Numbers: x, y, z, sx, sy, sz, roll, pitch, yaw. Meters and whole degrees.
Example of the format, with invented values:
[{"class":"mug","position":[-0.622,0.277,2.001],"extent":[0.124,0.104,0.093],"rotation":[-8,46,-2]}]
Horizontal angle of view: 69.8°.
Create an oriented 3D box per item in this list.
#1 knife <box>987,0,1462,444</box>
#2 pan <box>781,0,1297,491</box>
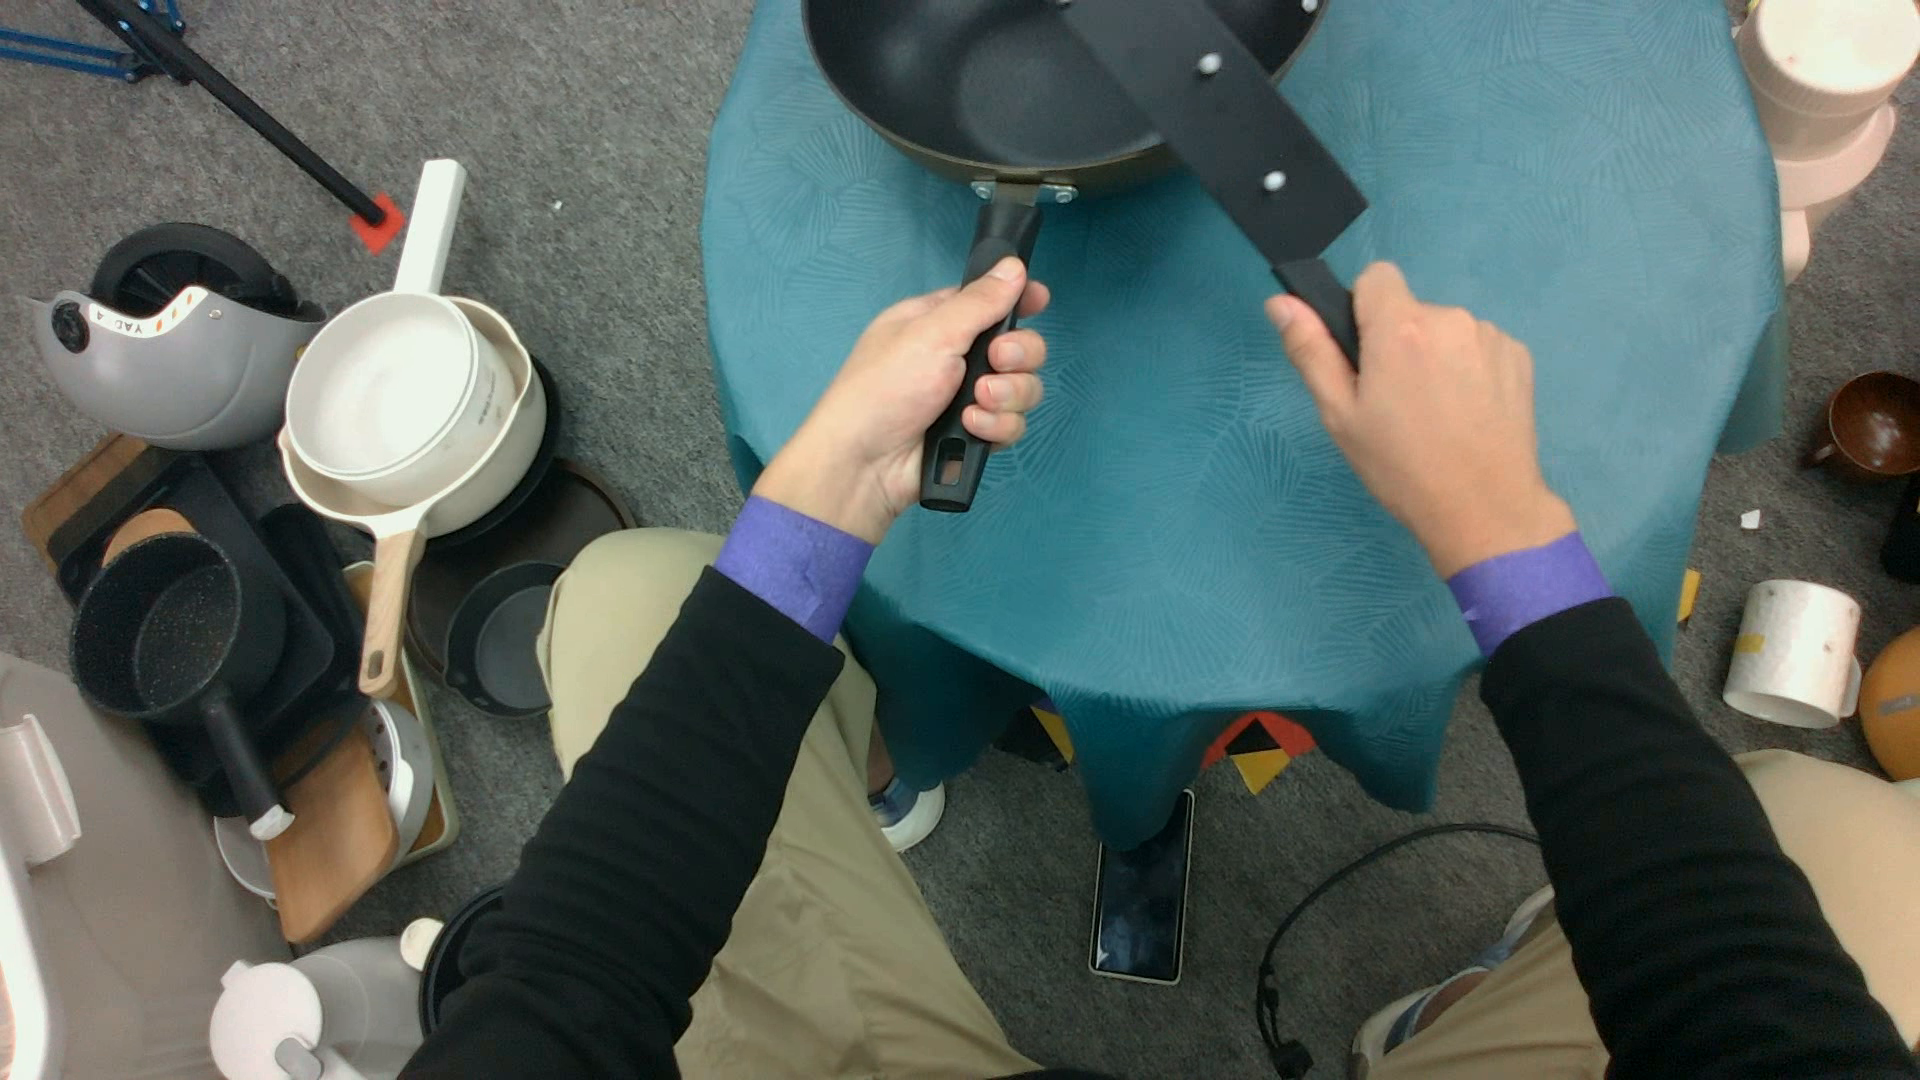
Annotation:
[{"class":"knife","position":[0.130,-0.163,0.646],"extent":[0.081,0.021,0.302],"rotation":[-41,92,-21]},{"class":"pan","position":[0.030,-0.217,0.731],"extent":[0.288,0.086,0.465],"rotation":[6,66,11]}]
